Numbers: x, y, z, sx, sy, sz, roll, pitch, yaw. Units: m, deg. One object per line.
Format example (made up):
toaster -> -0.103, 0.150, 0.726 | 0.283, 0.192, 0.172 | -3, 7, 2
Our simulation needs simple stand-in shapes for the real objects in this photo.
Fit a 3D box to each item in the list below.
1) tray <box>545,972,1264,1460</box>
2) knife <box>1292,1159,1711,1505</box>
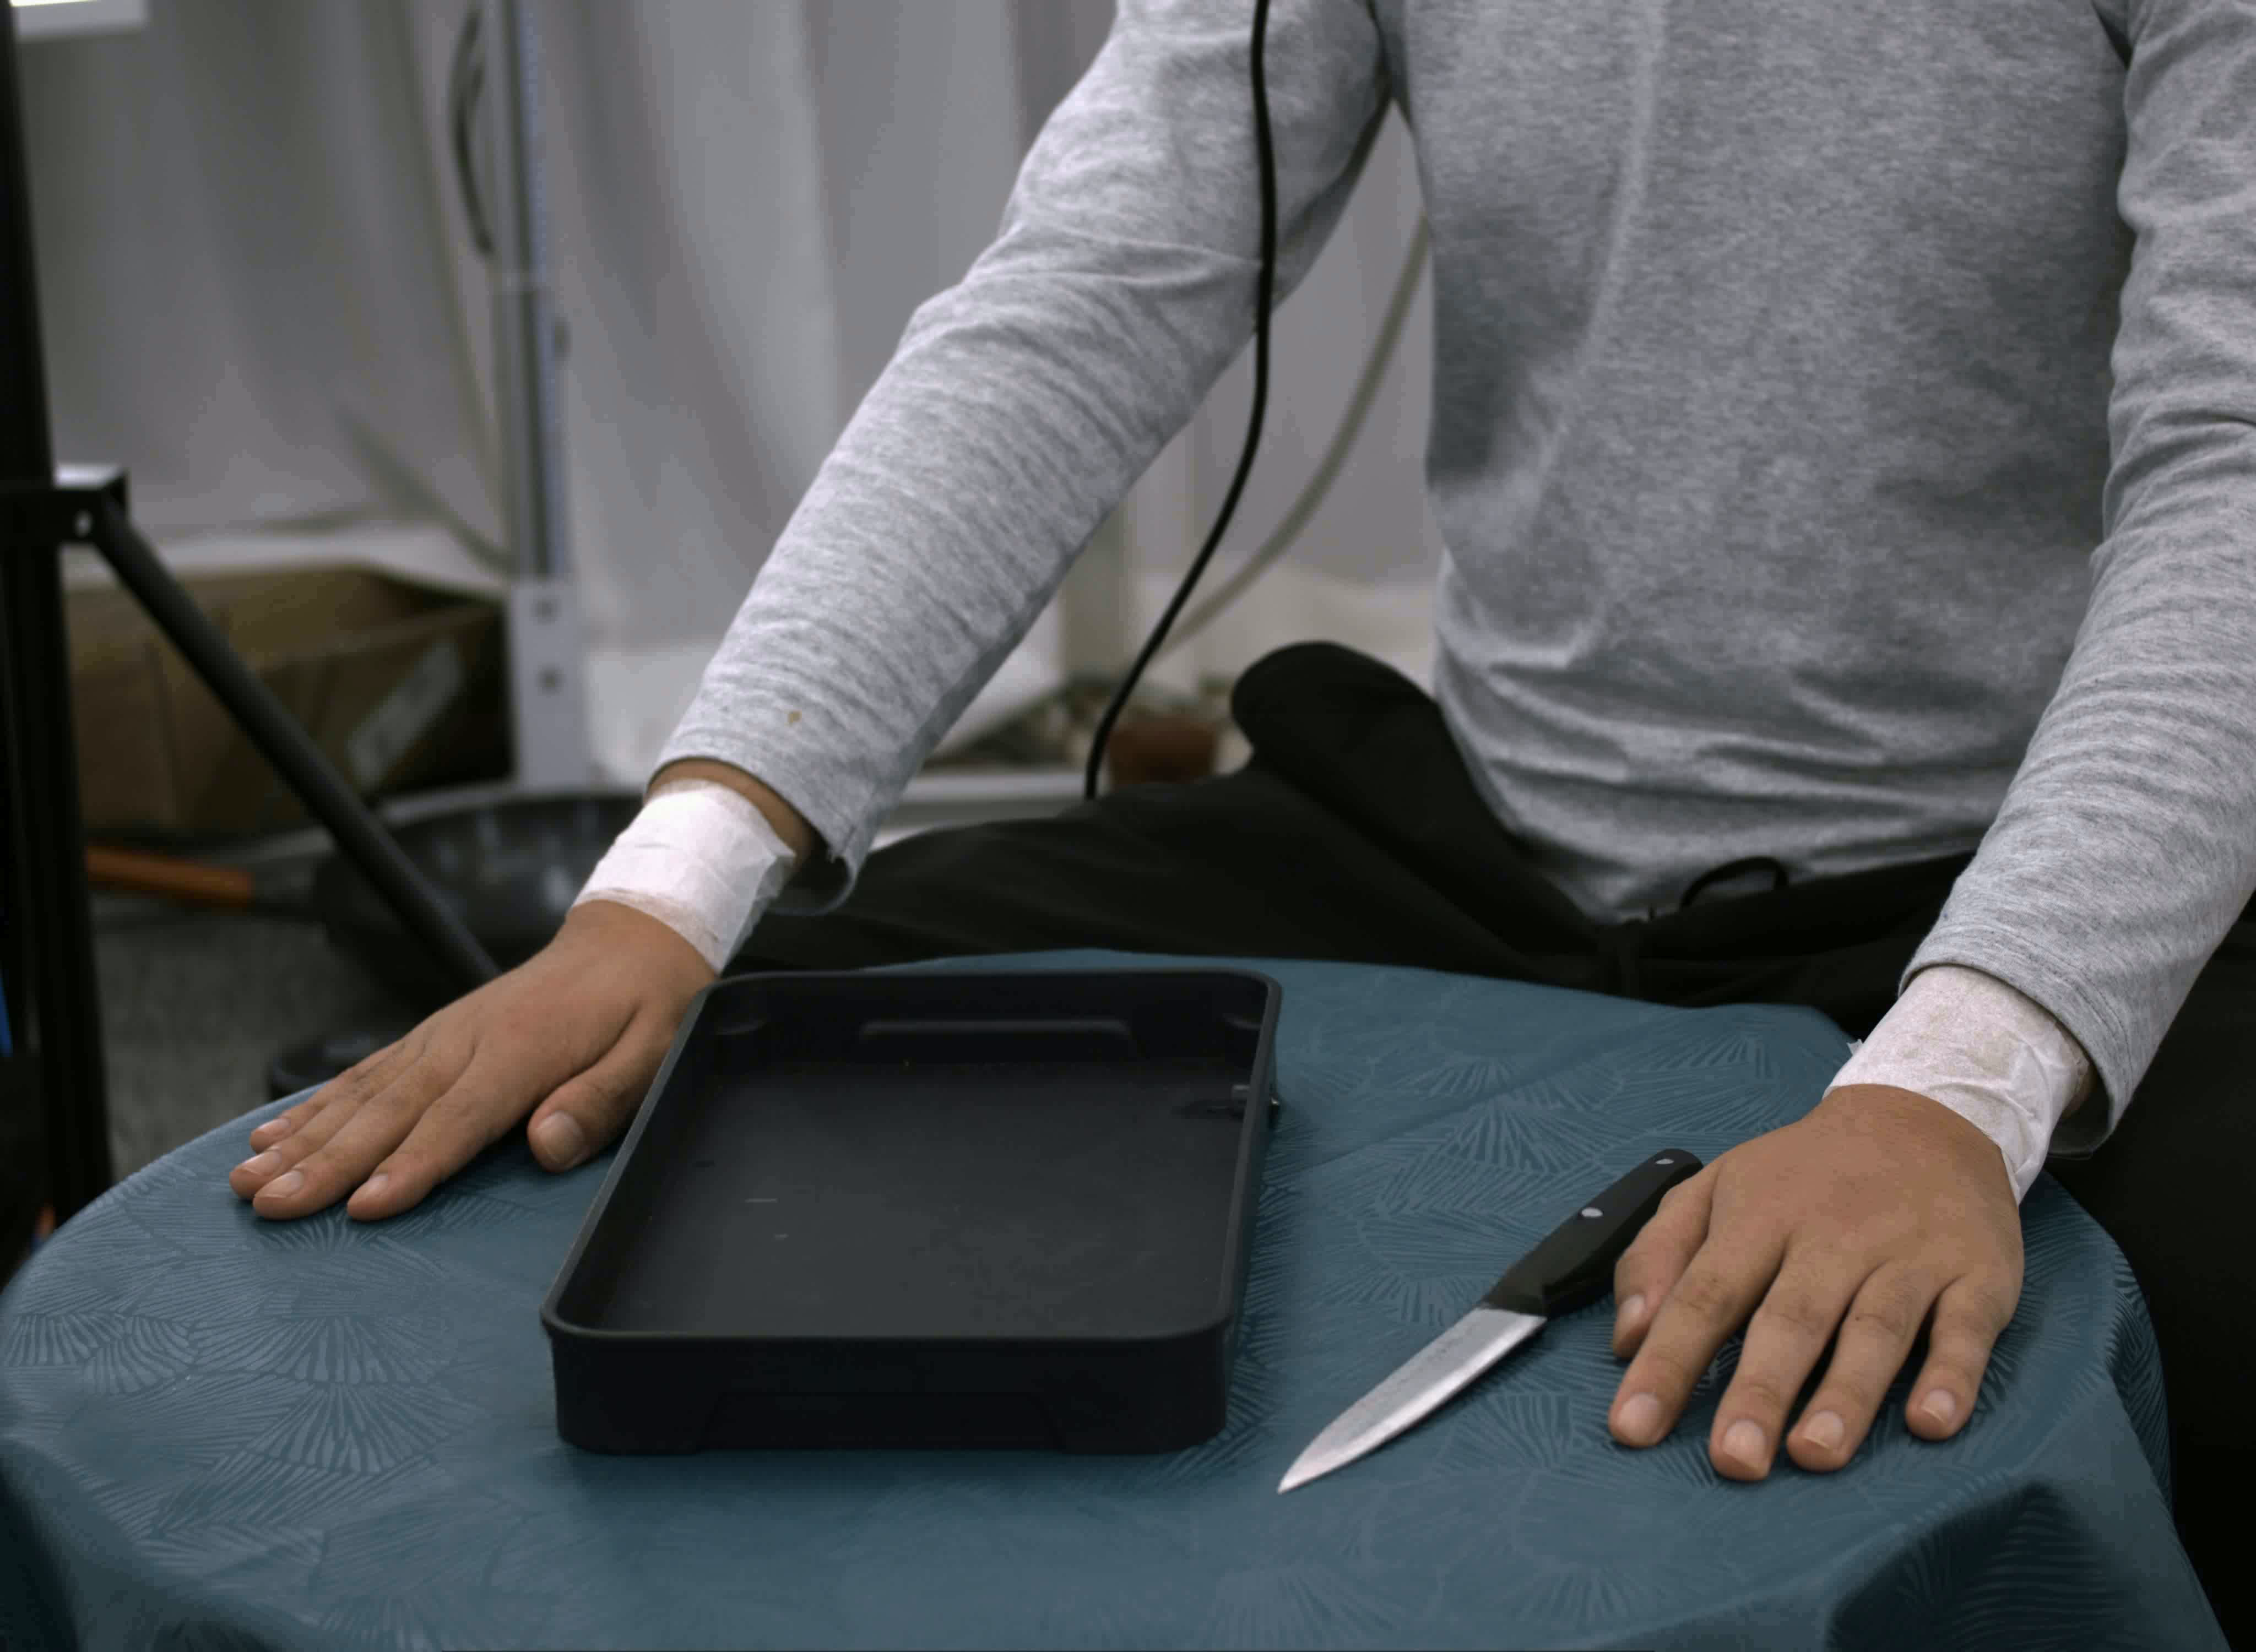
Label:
tray -> -0.054, 0.105, 1.514 | 0.184, 0.037, 0.318 | -1, 15, 4
knife -> 0.100, 0.136, 1.428 | 0.025, 0.016, 0.234 | 3, 19, 31
